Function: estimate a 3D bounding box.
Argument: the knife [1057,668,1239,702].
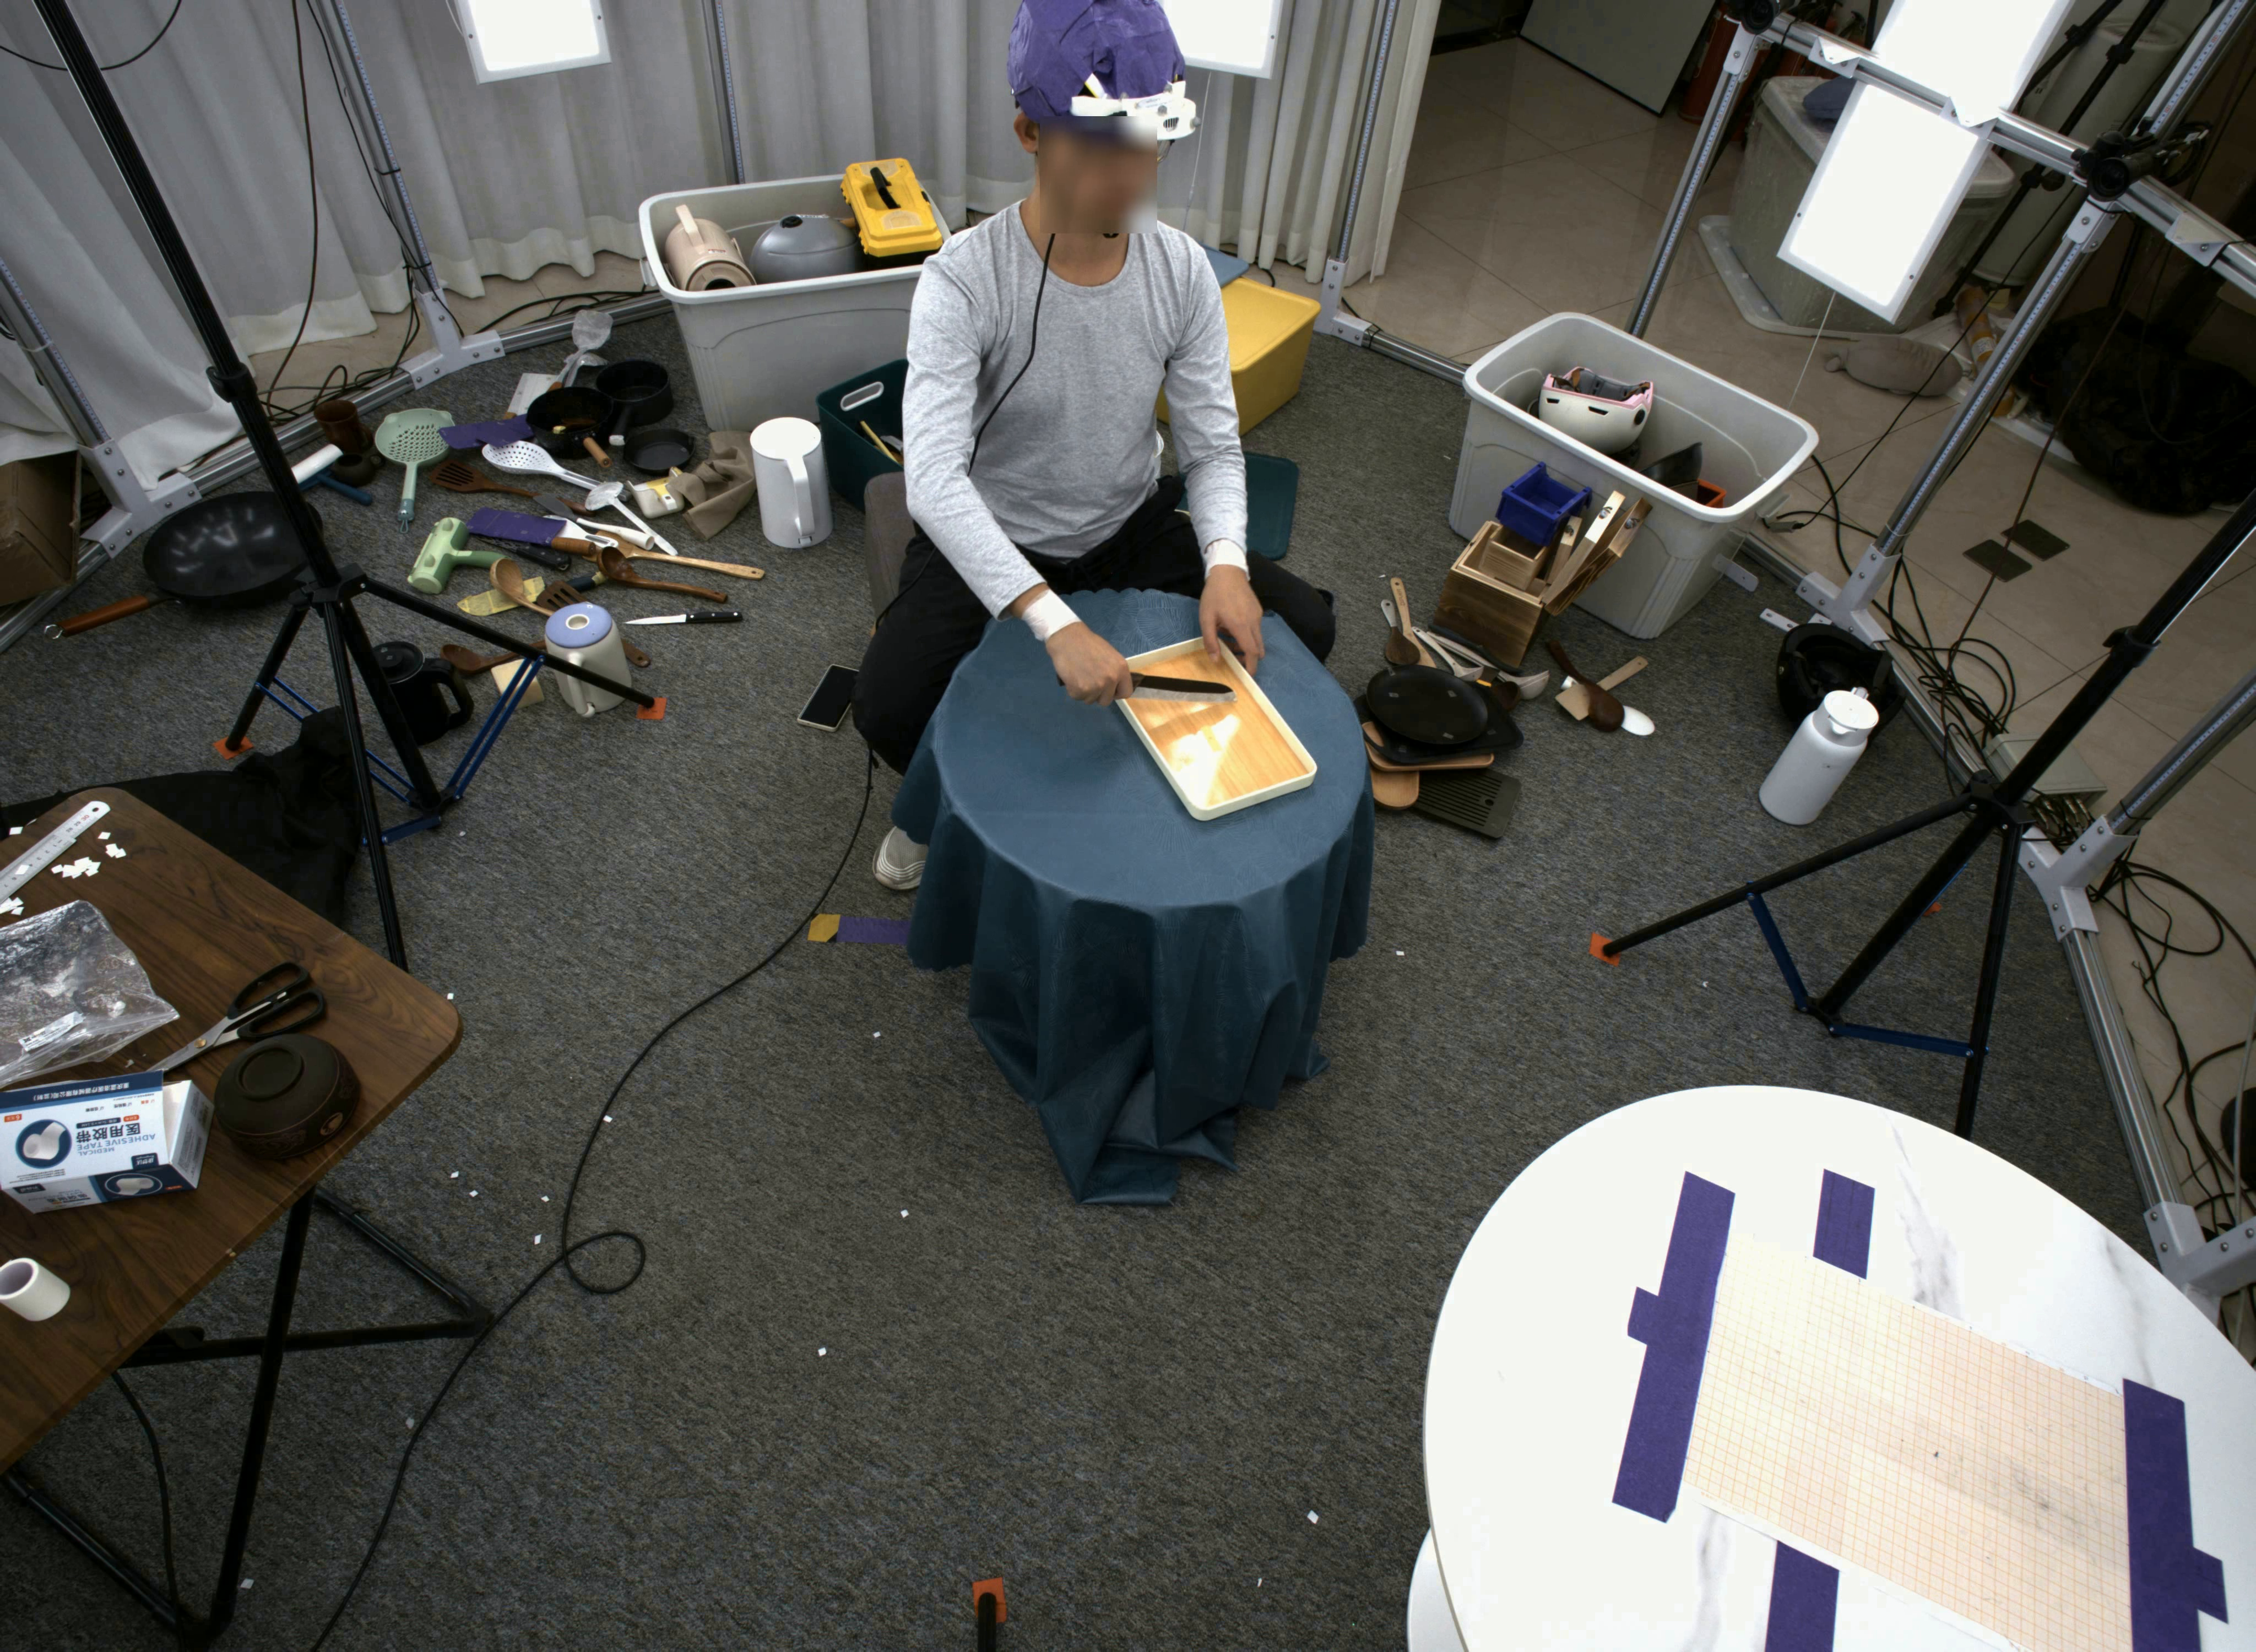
[{"bbox_3d":[0.031,-0.190,1.756,0.287,0.049,0.020,3,52,-28],"label":"knife"}]

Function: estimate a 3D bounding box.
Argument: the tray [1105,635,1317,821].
[{"bbox_3d":[0.111,-0.143,1.782,0.192,0.027,0.307,-18,52,-18],"label":"tray"}]
